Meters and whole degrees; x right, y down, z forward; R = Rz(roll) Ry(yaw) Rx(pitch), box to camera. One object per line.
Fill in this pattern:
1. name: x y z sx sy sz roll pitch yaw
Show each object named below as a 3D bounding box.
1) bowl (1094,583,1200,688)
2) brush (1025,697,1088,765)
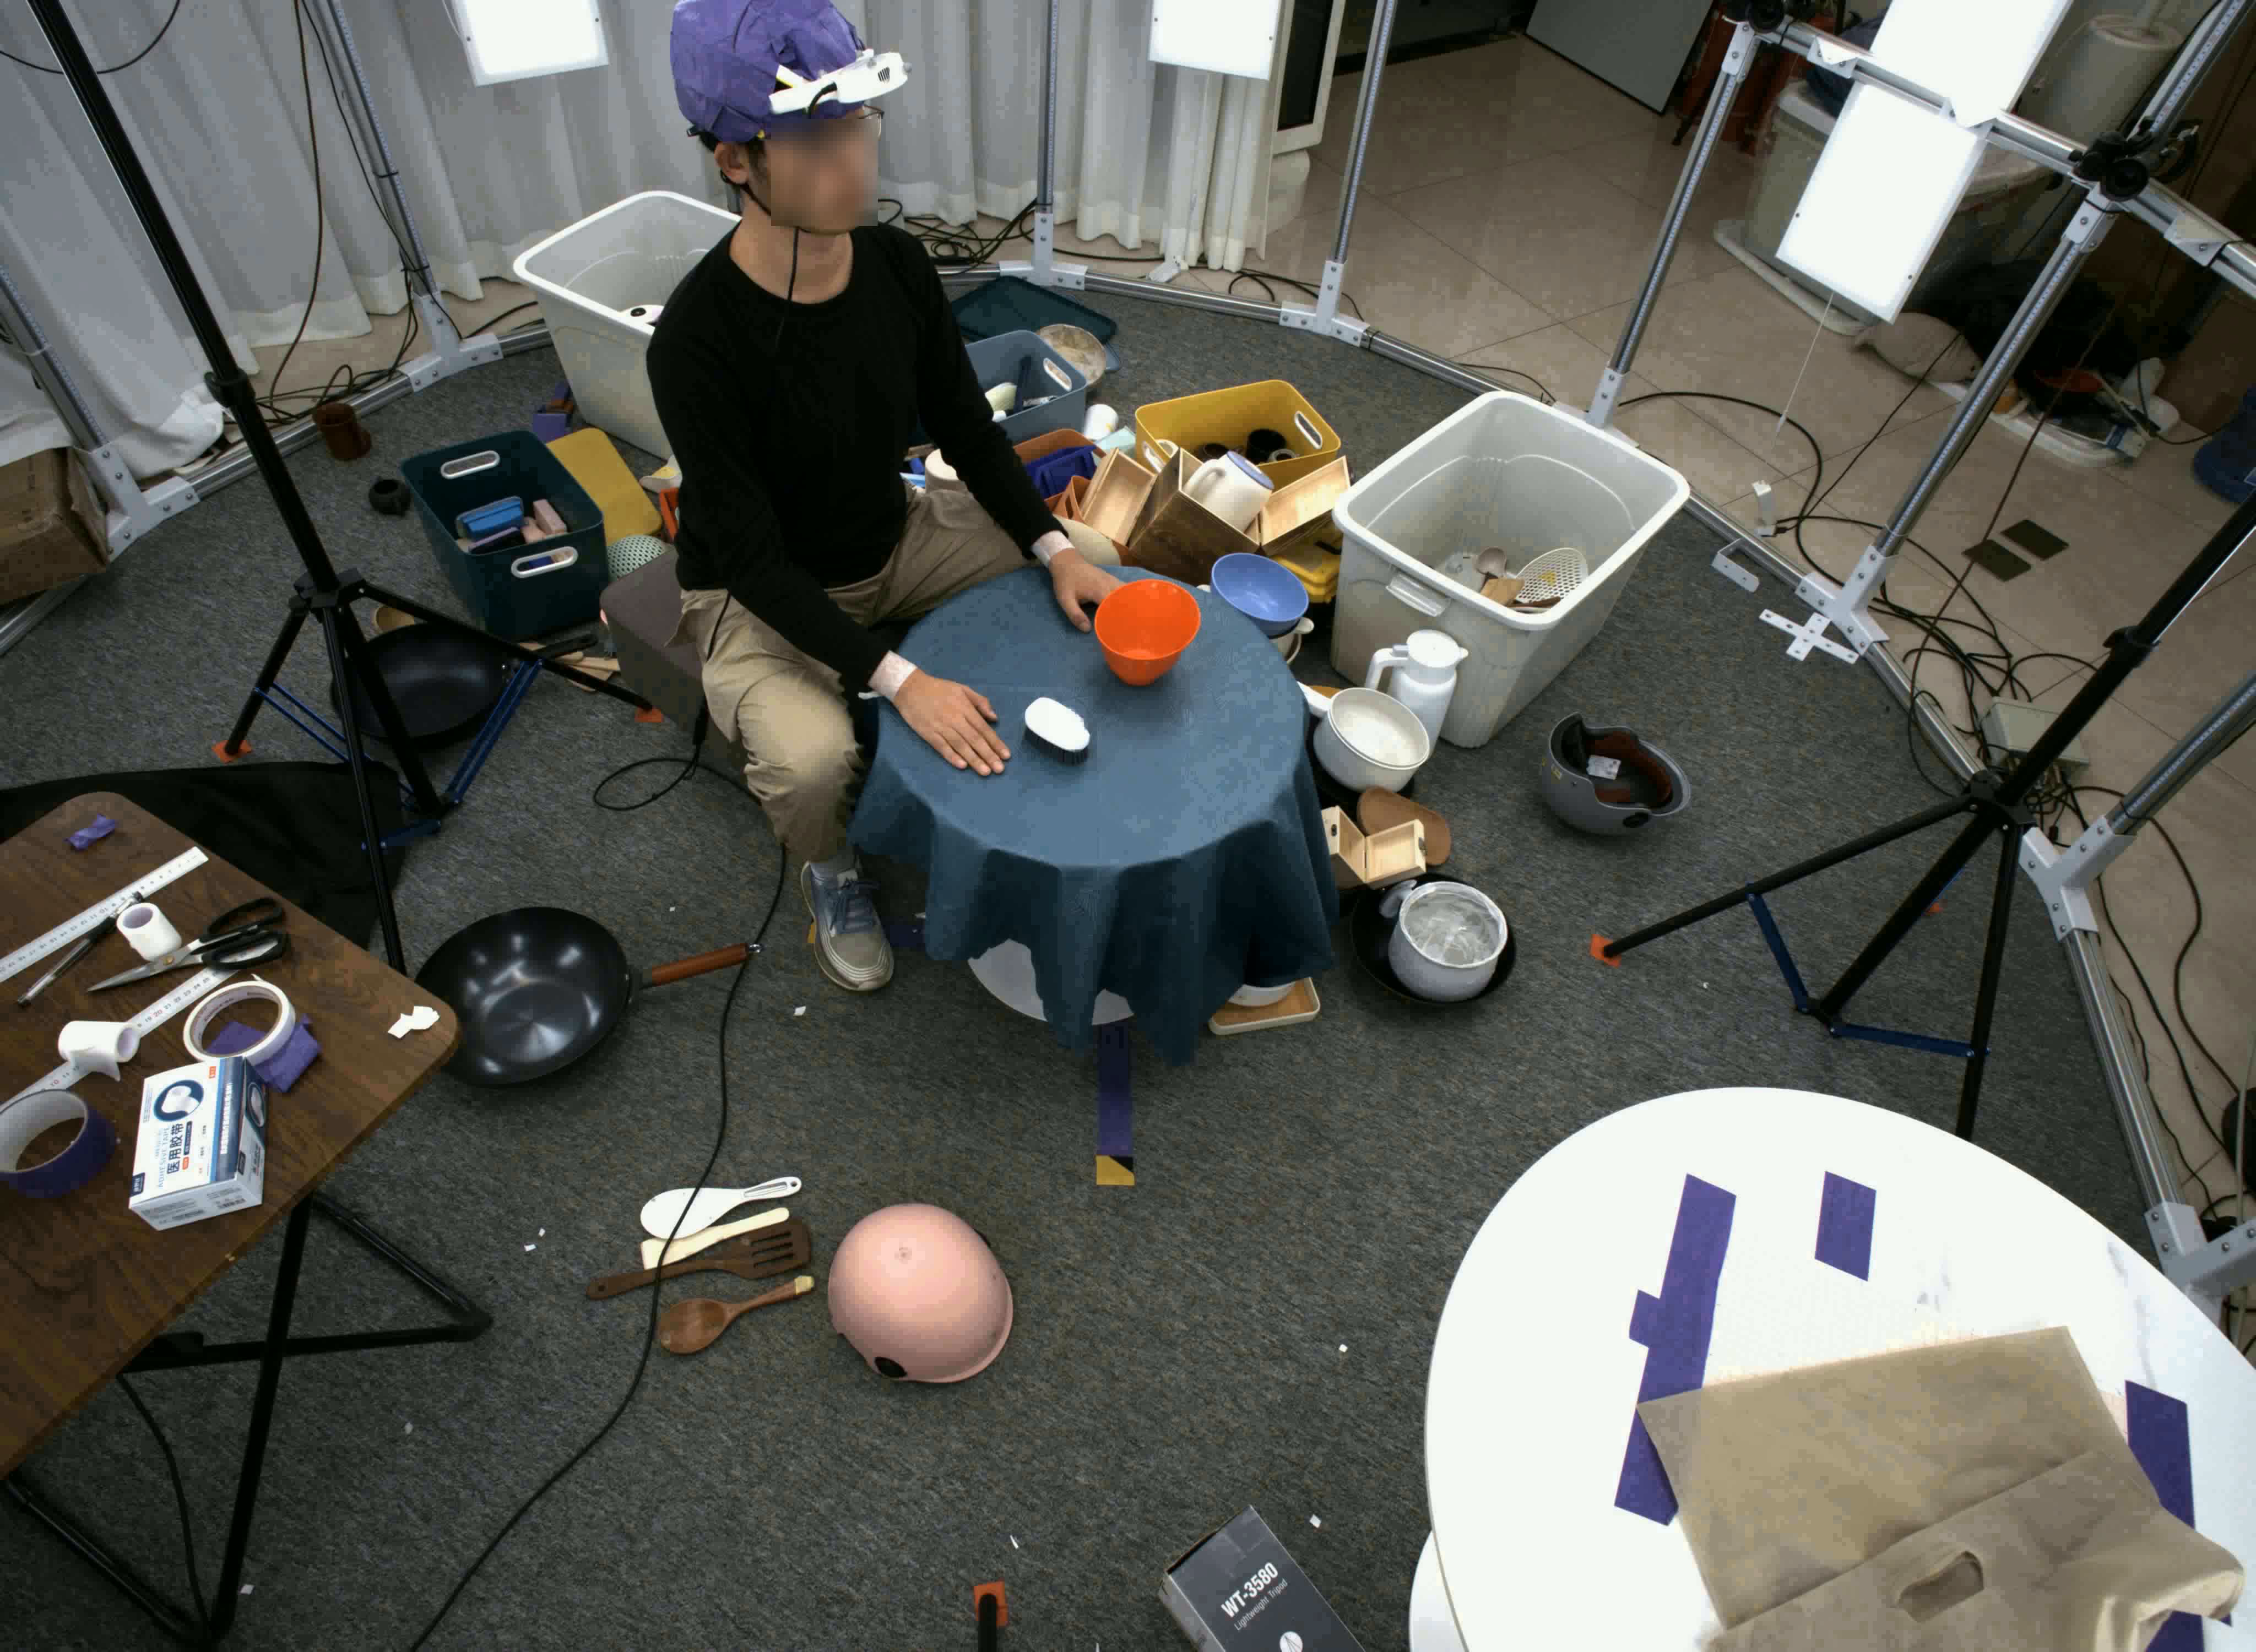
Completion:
1. bowl: 0.026 -0.262 1.837 0.148 0.102 0.152 1 49 -1
2. brush: -0.097 -0.136 1.734 0.100 0.071 0.051 34 56 23
